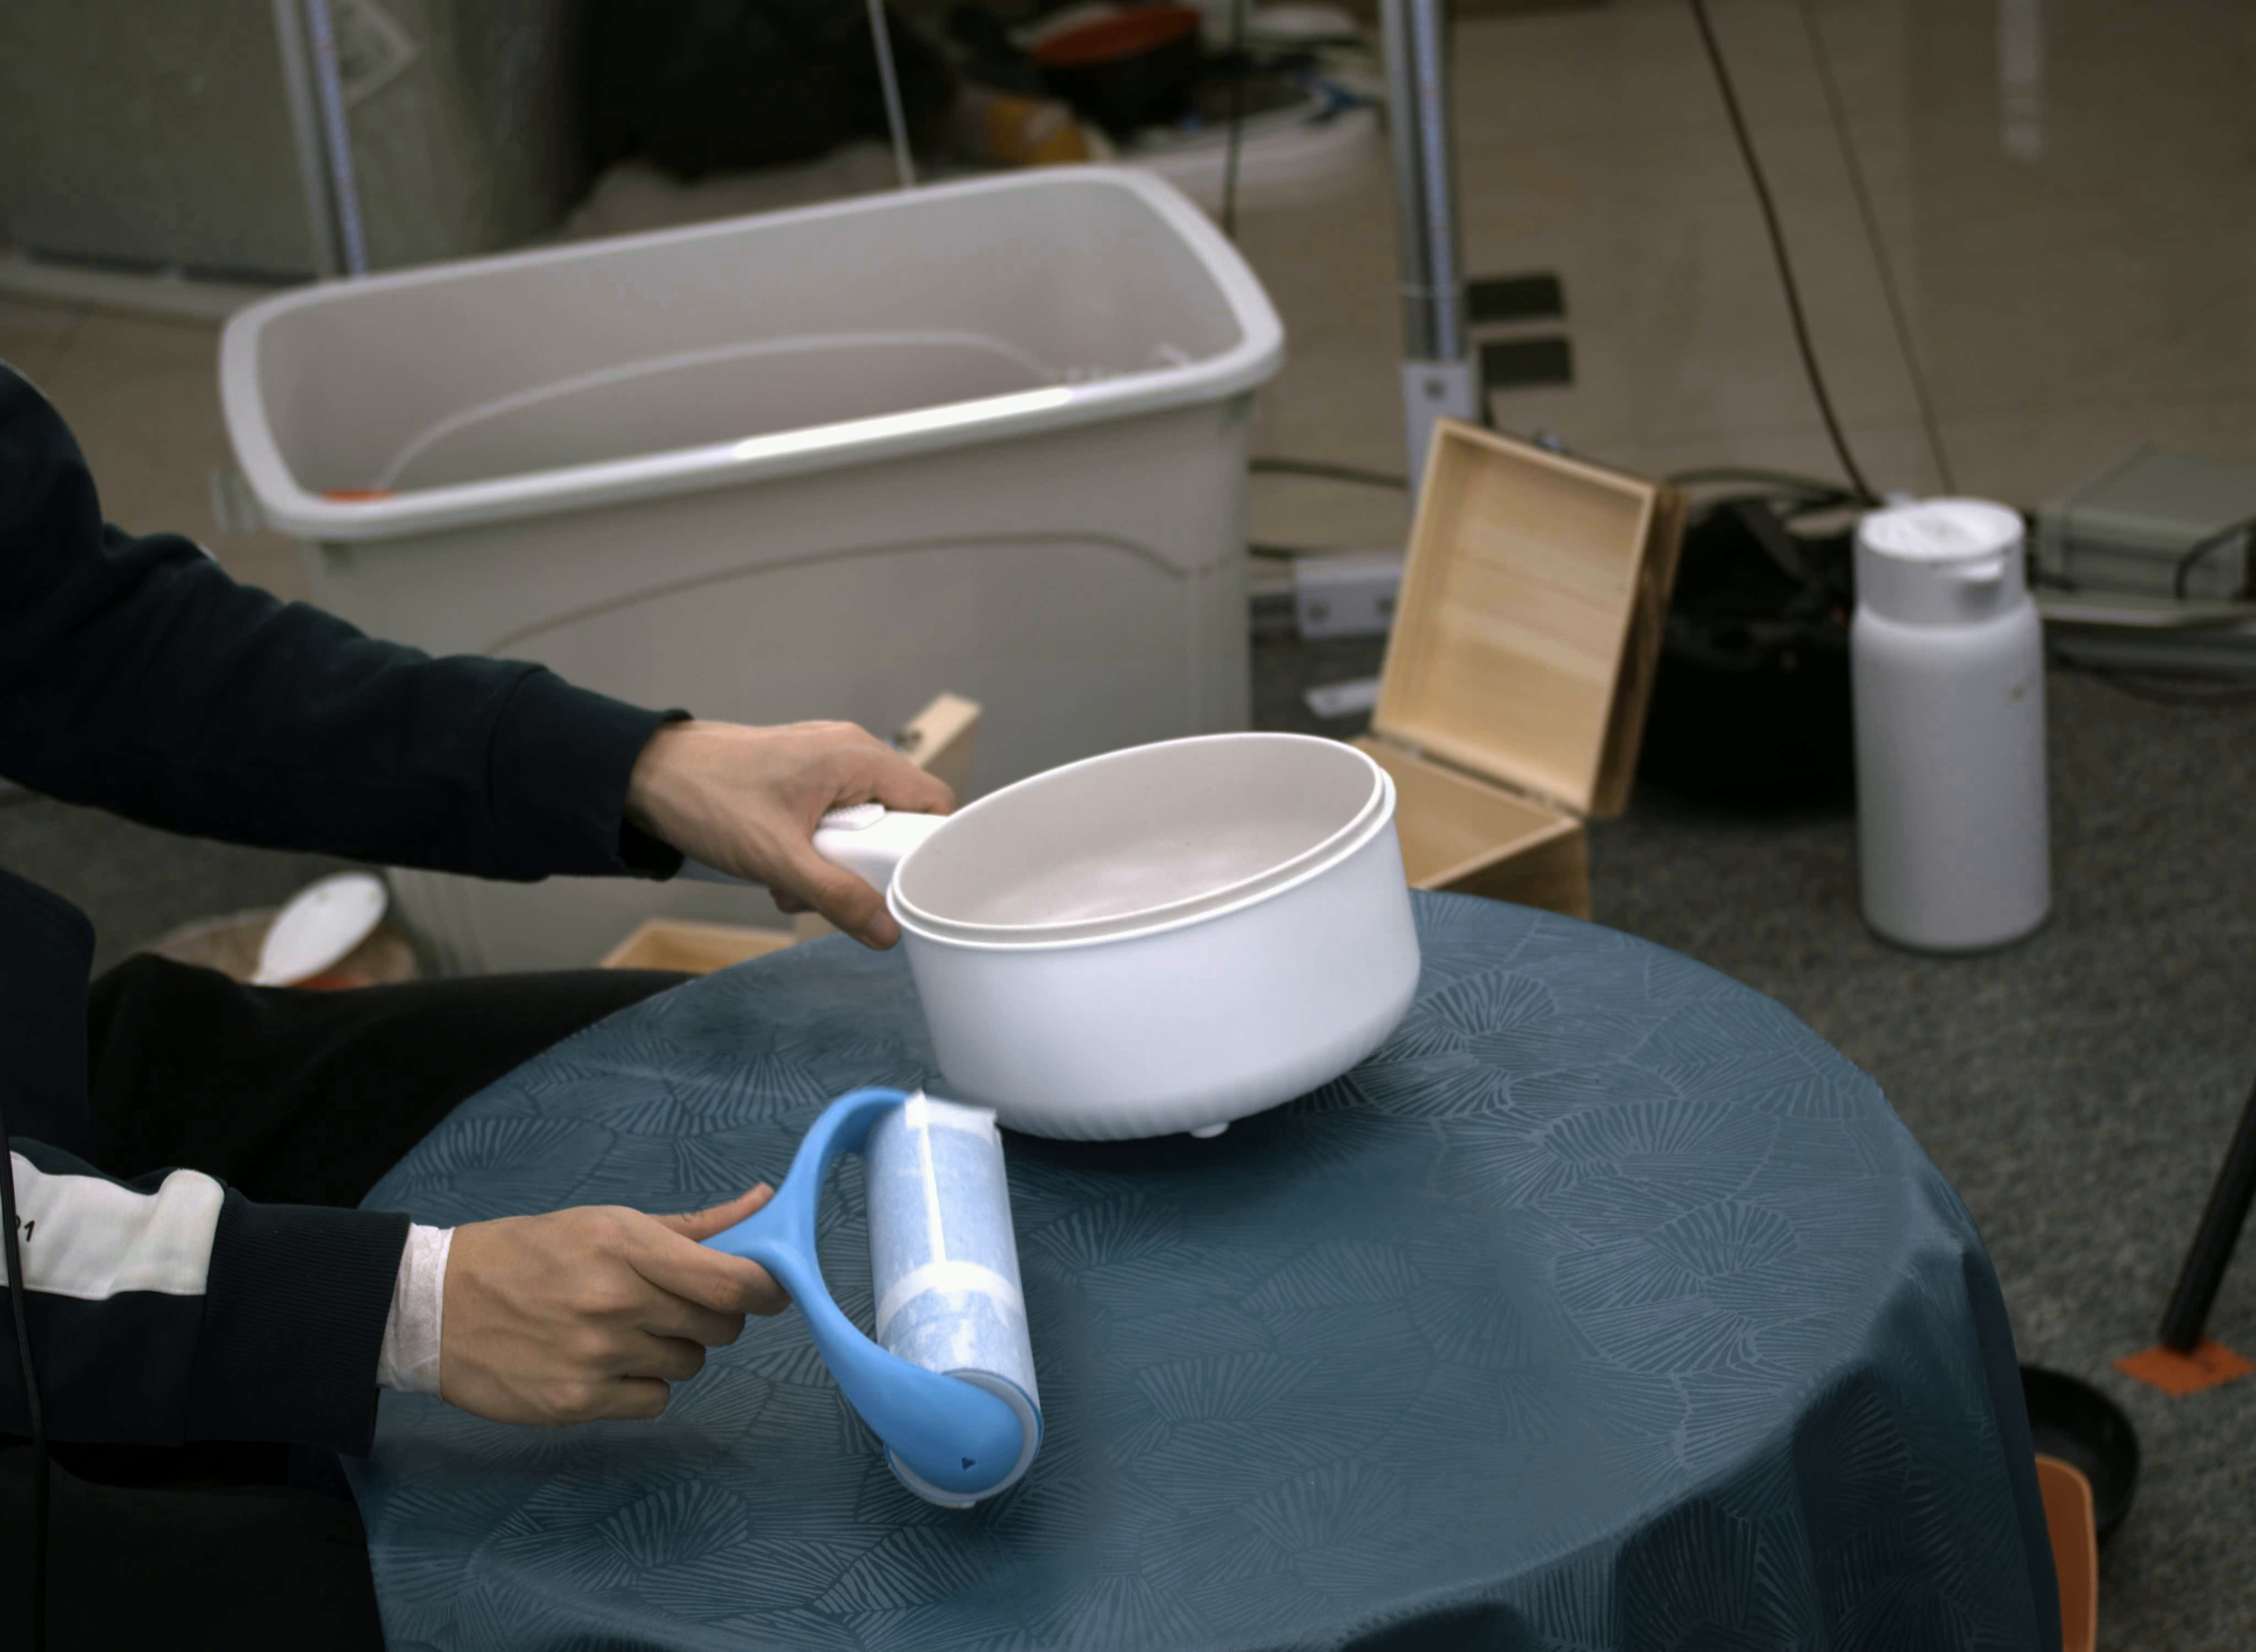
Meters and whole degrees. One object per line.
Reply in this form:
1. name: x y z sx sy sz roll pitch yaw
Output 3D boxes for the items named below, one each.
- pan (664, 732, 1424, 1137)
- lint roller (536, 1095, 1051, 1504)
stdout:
1. pan: -0.042 0.043 2.247 0.354 0.103 0.199 3 25 42
2. lint roller: -0.121 0.171 1.996 0.180 0.069 0.225 -6 27 -6
